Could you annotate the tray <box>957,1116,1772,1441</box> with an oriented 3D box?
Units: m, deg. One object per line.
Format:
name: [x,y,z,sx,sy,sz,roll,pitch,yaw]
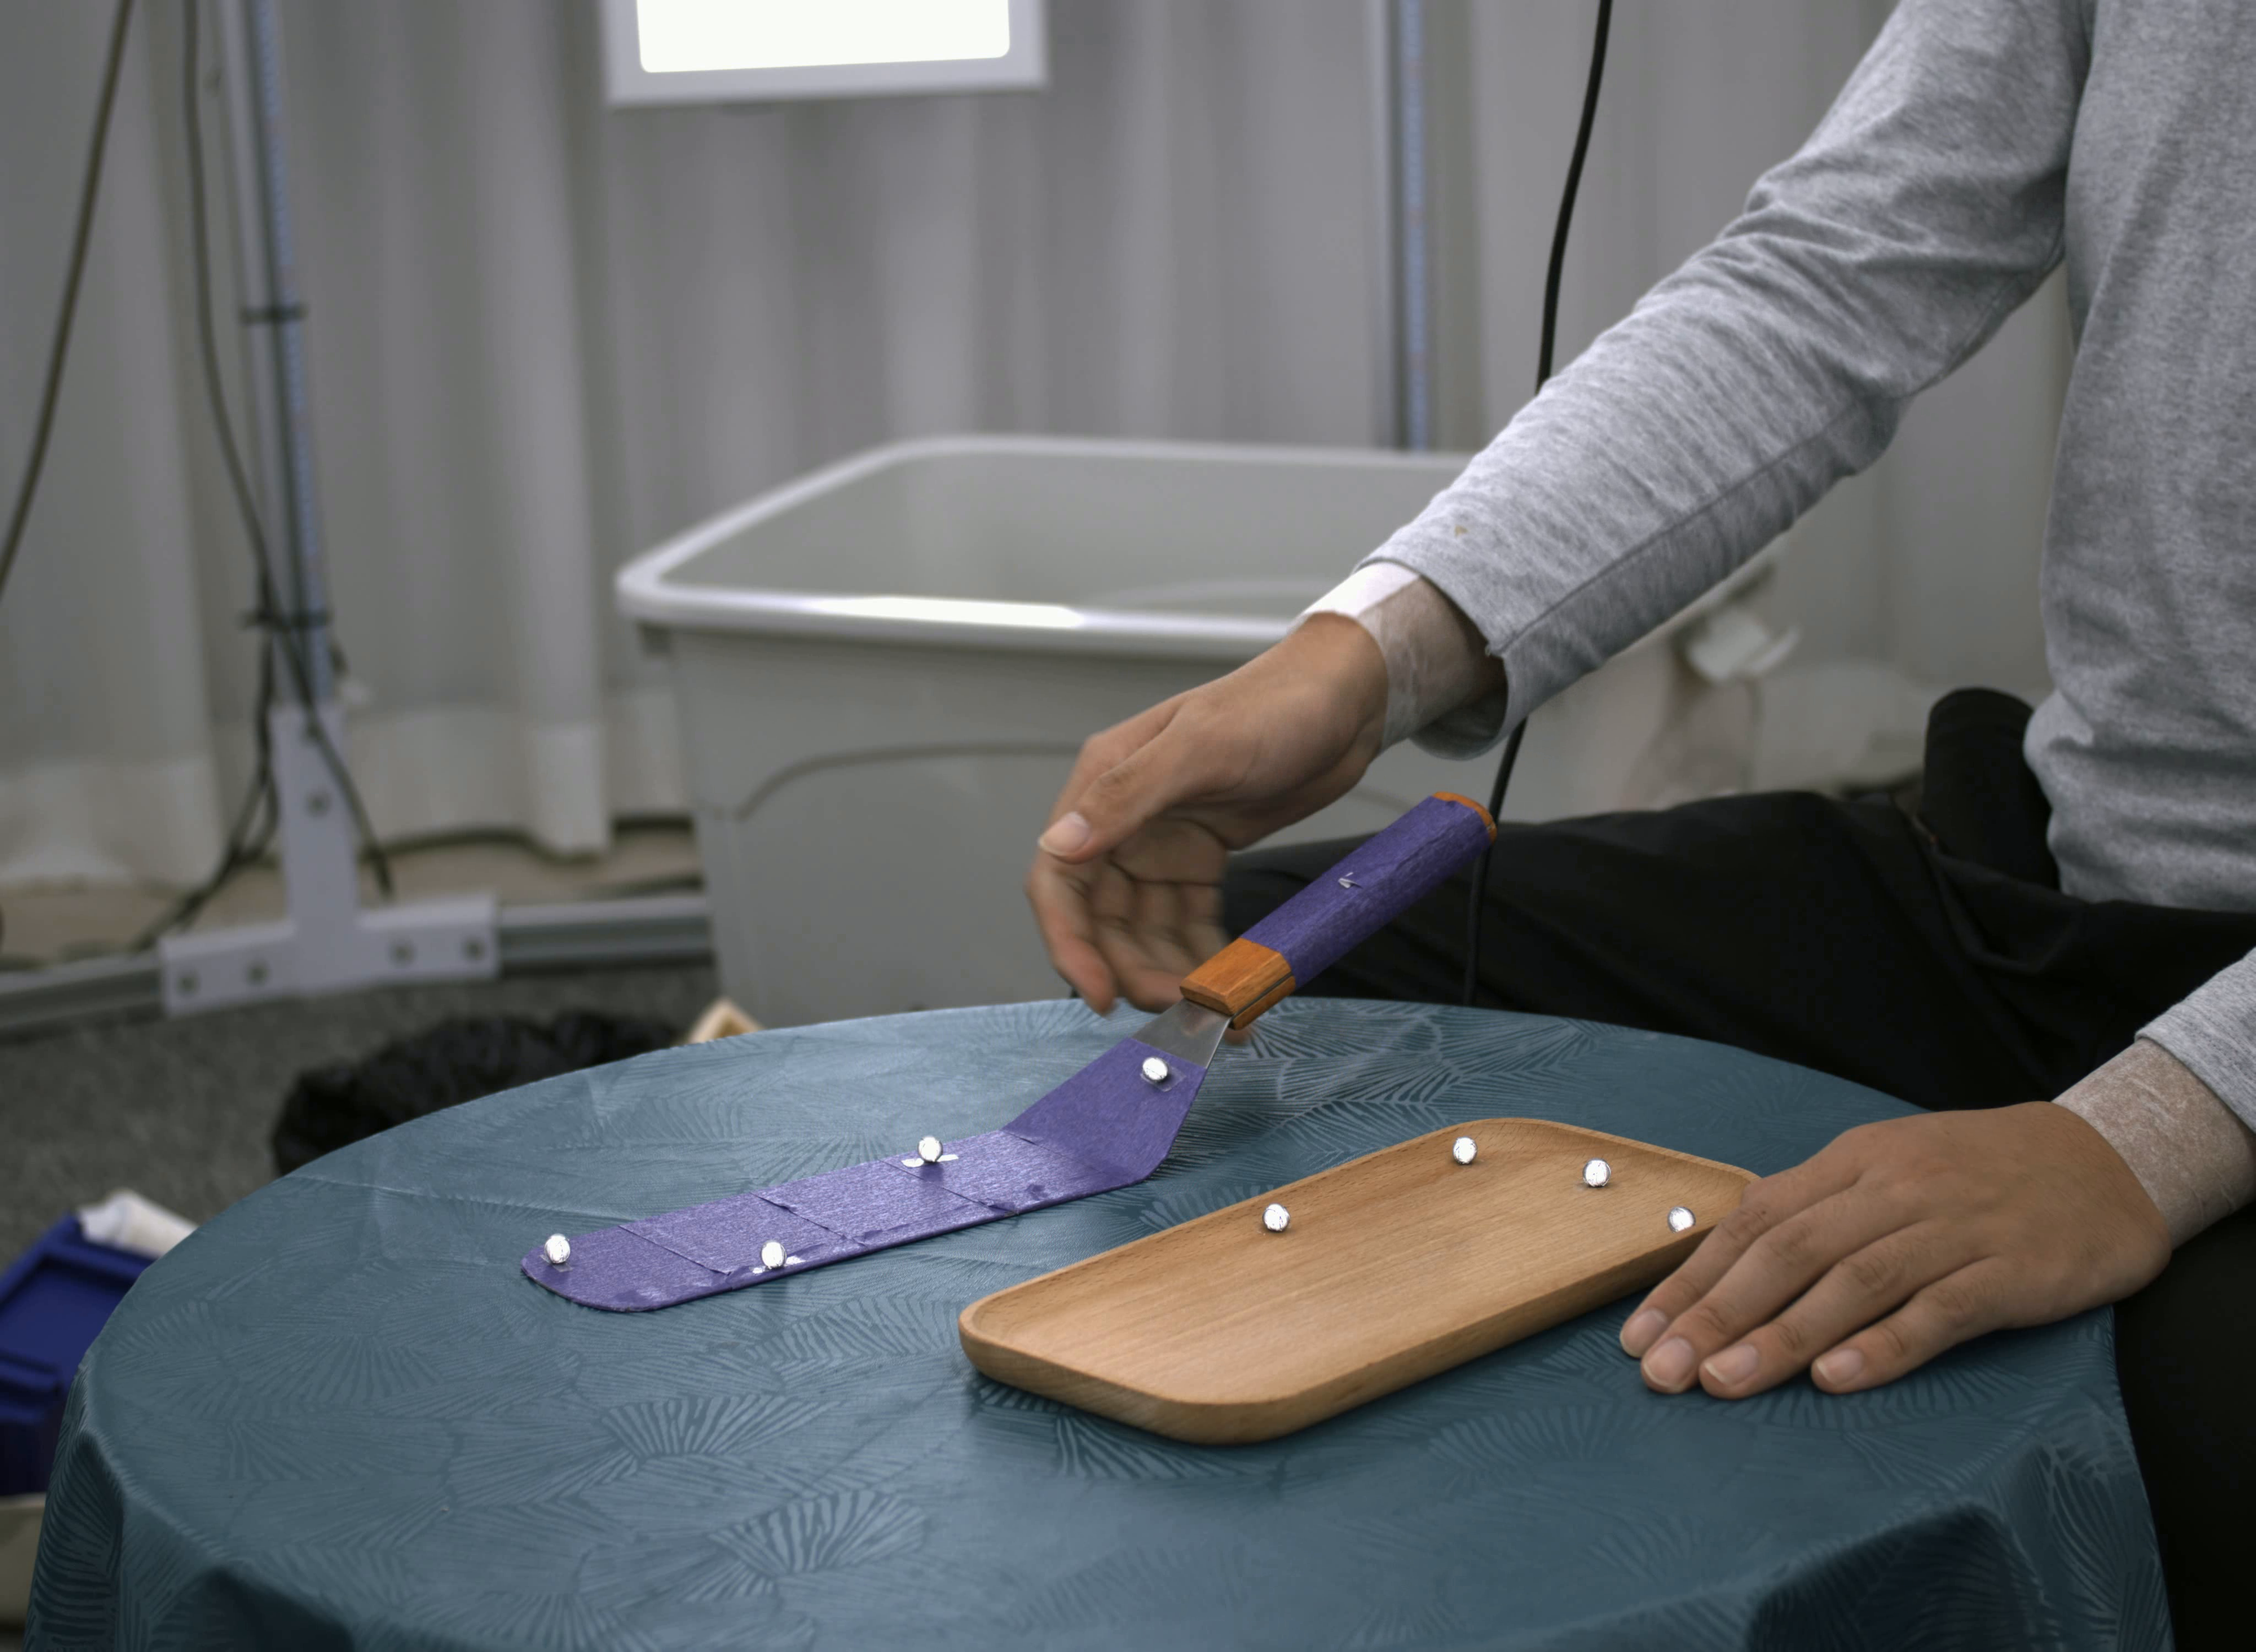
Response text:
tray: [0.073,0.131,1.608,0.250,0.023,0.131,-17,17,-41]

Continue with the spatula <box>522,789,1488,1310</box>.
spatula: [-0.029,0.069,1.737,0.360,0.086,0.076,-39,31,-23]
